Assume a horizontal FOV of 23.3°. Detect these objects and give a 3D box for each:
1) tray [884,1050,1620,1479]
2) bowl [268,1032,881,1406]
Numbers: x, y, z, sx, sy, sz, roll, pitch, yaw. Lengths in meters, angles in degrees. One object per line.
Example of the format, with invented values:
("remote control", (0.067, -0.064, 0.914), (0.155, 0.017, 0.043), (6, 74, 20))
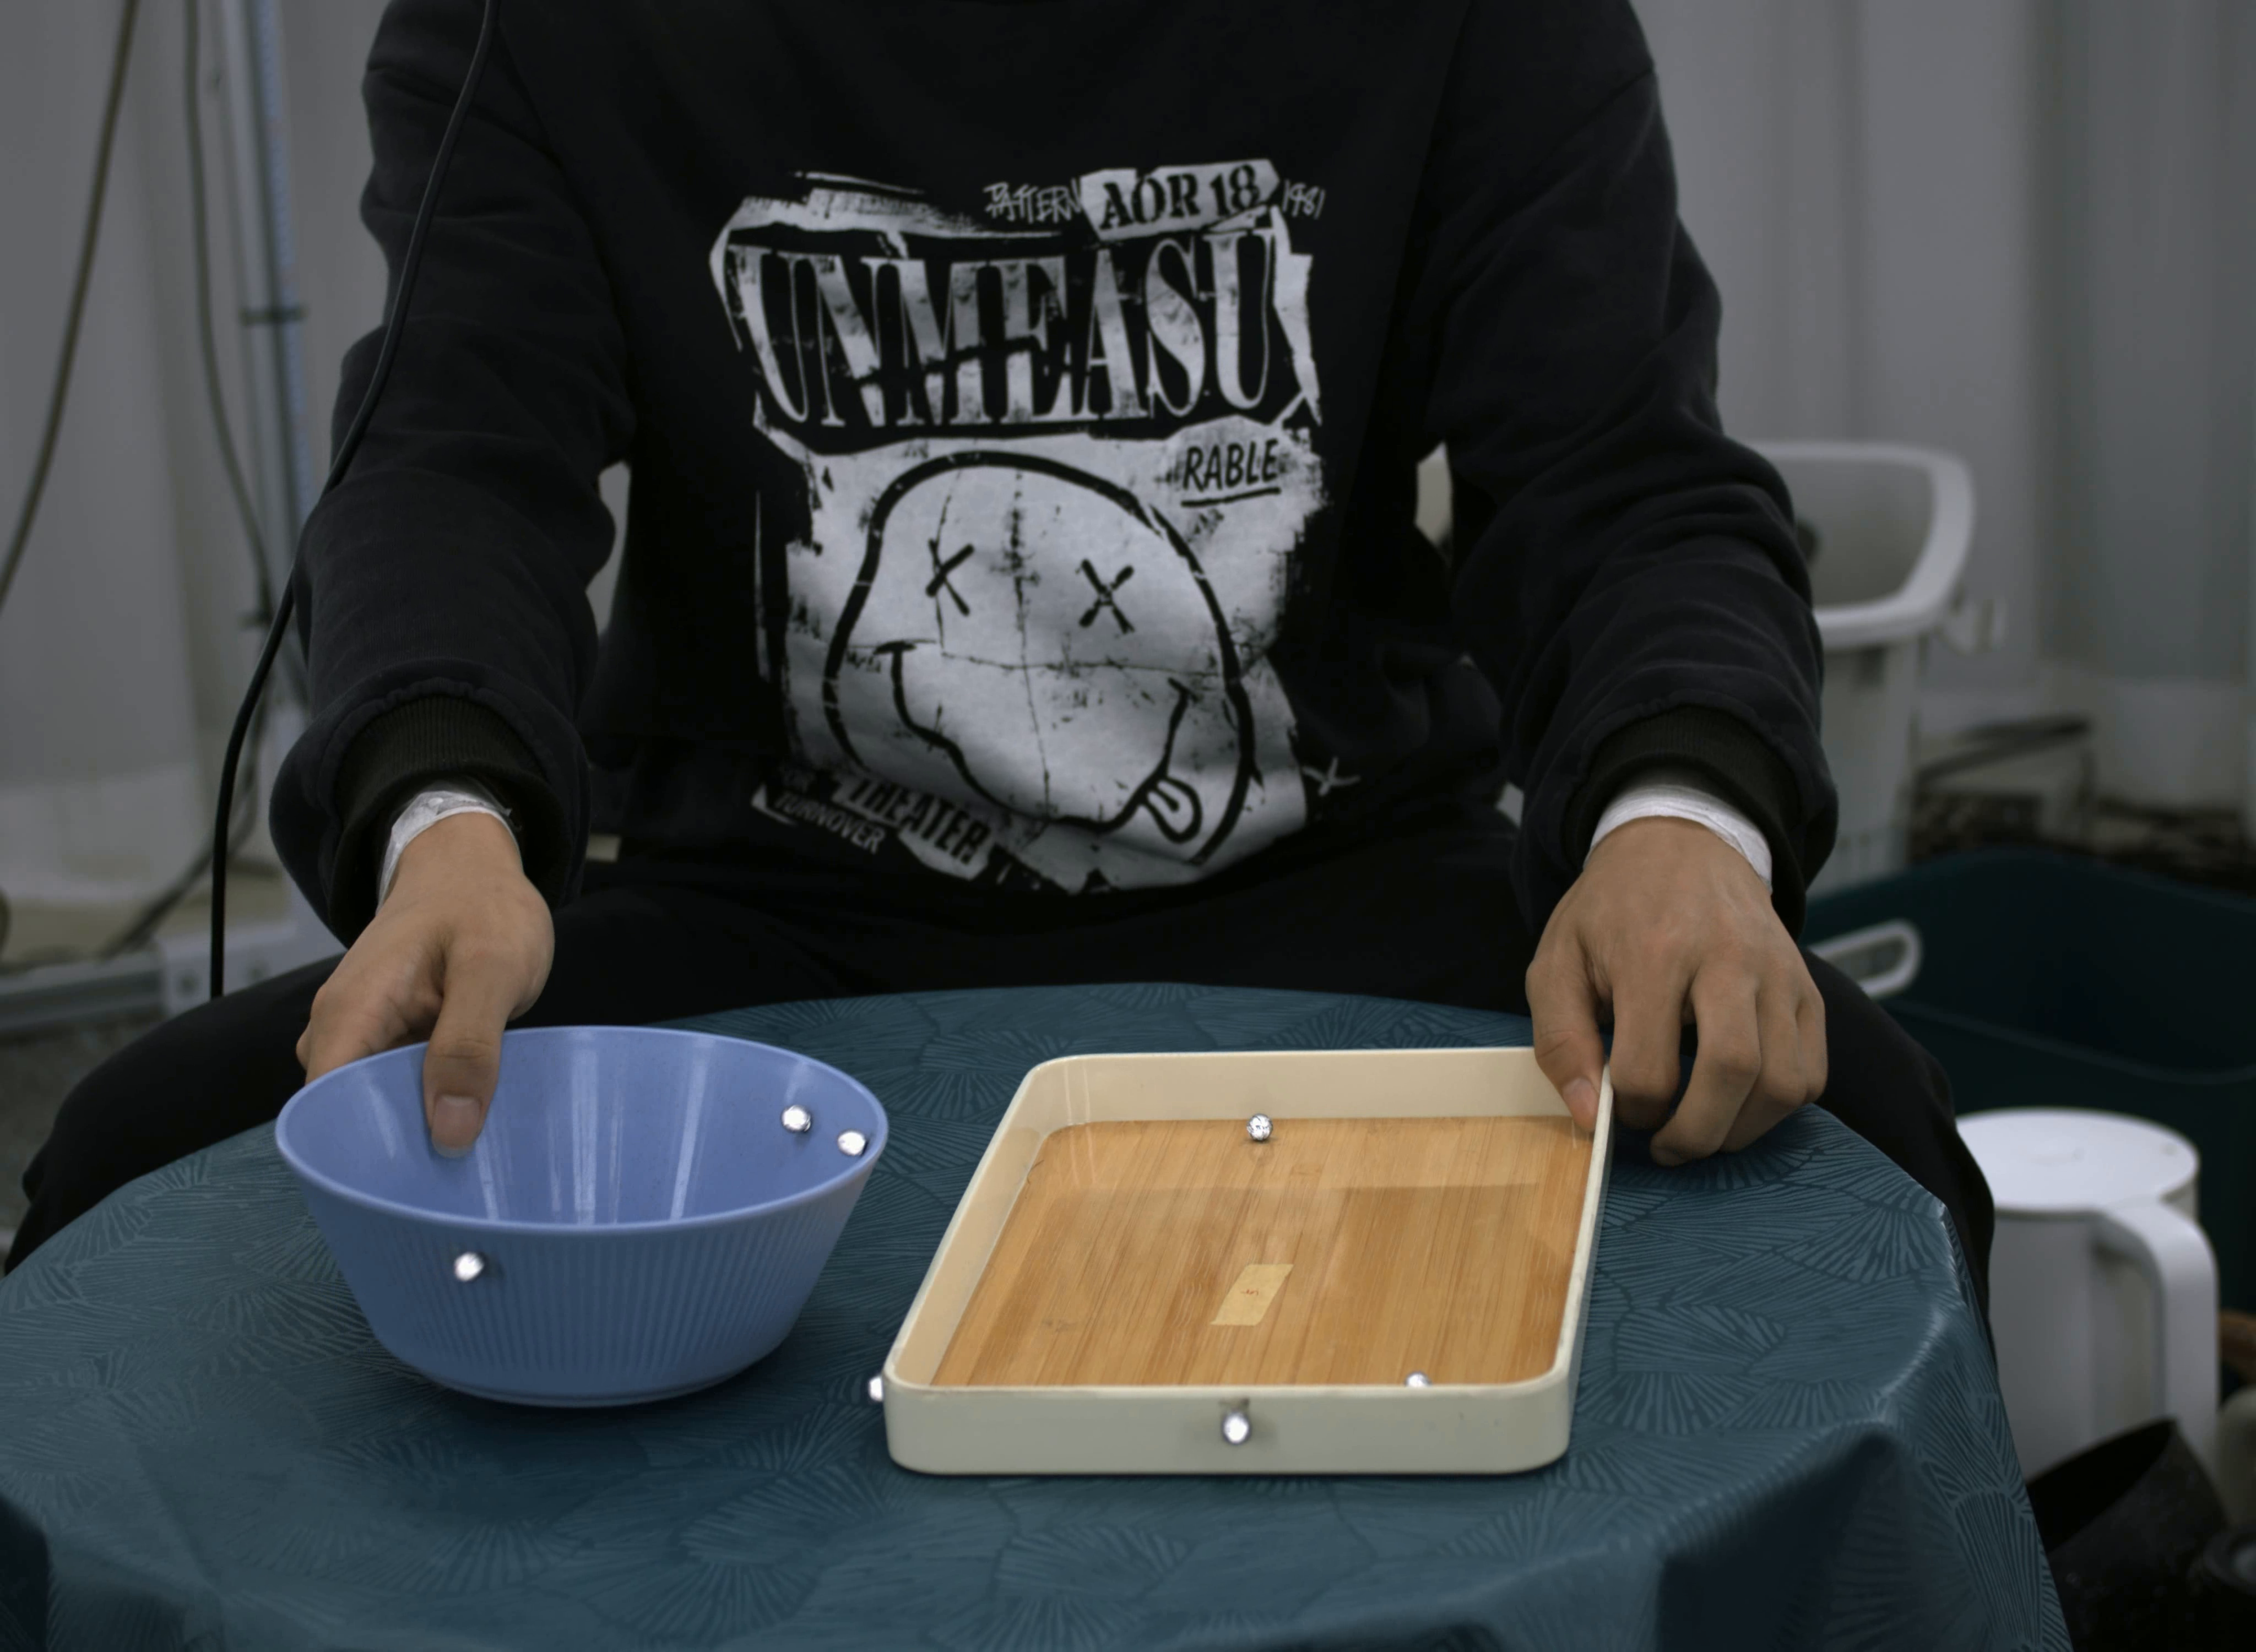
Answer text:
("tray", (0.045, 0.126, 1.613), (0.191, 0.027, 0.302), (-1, 15, 9))
("bowl", (-0.160, 0.116, 1.581), (0.175, 0.070, 0.177), (2, 16, -1))
